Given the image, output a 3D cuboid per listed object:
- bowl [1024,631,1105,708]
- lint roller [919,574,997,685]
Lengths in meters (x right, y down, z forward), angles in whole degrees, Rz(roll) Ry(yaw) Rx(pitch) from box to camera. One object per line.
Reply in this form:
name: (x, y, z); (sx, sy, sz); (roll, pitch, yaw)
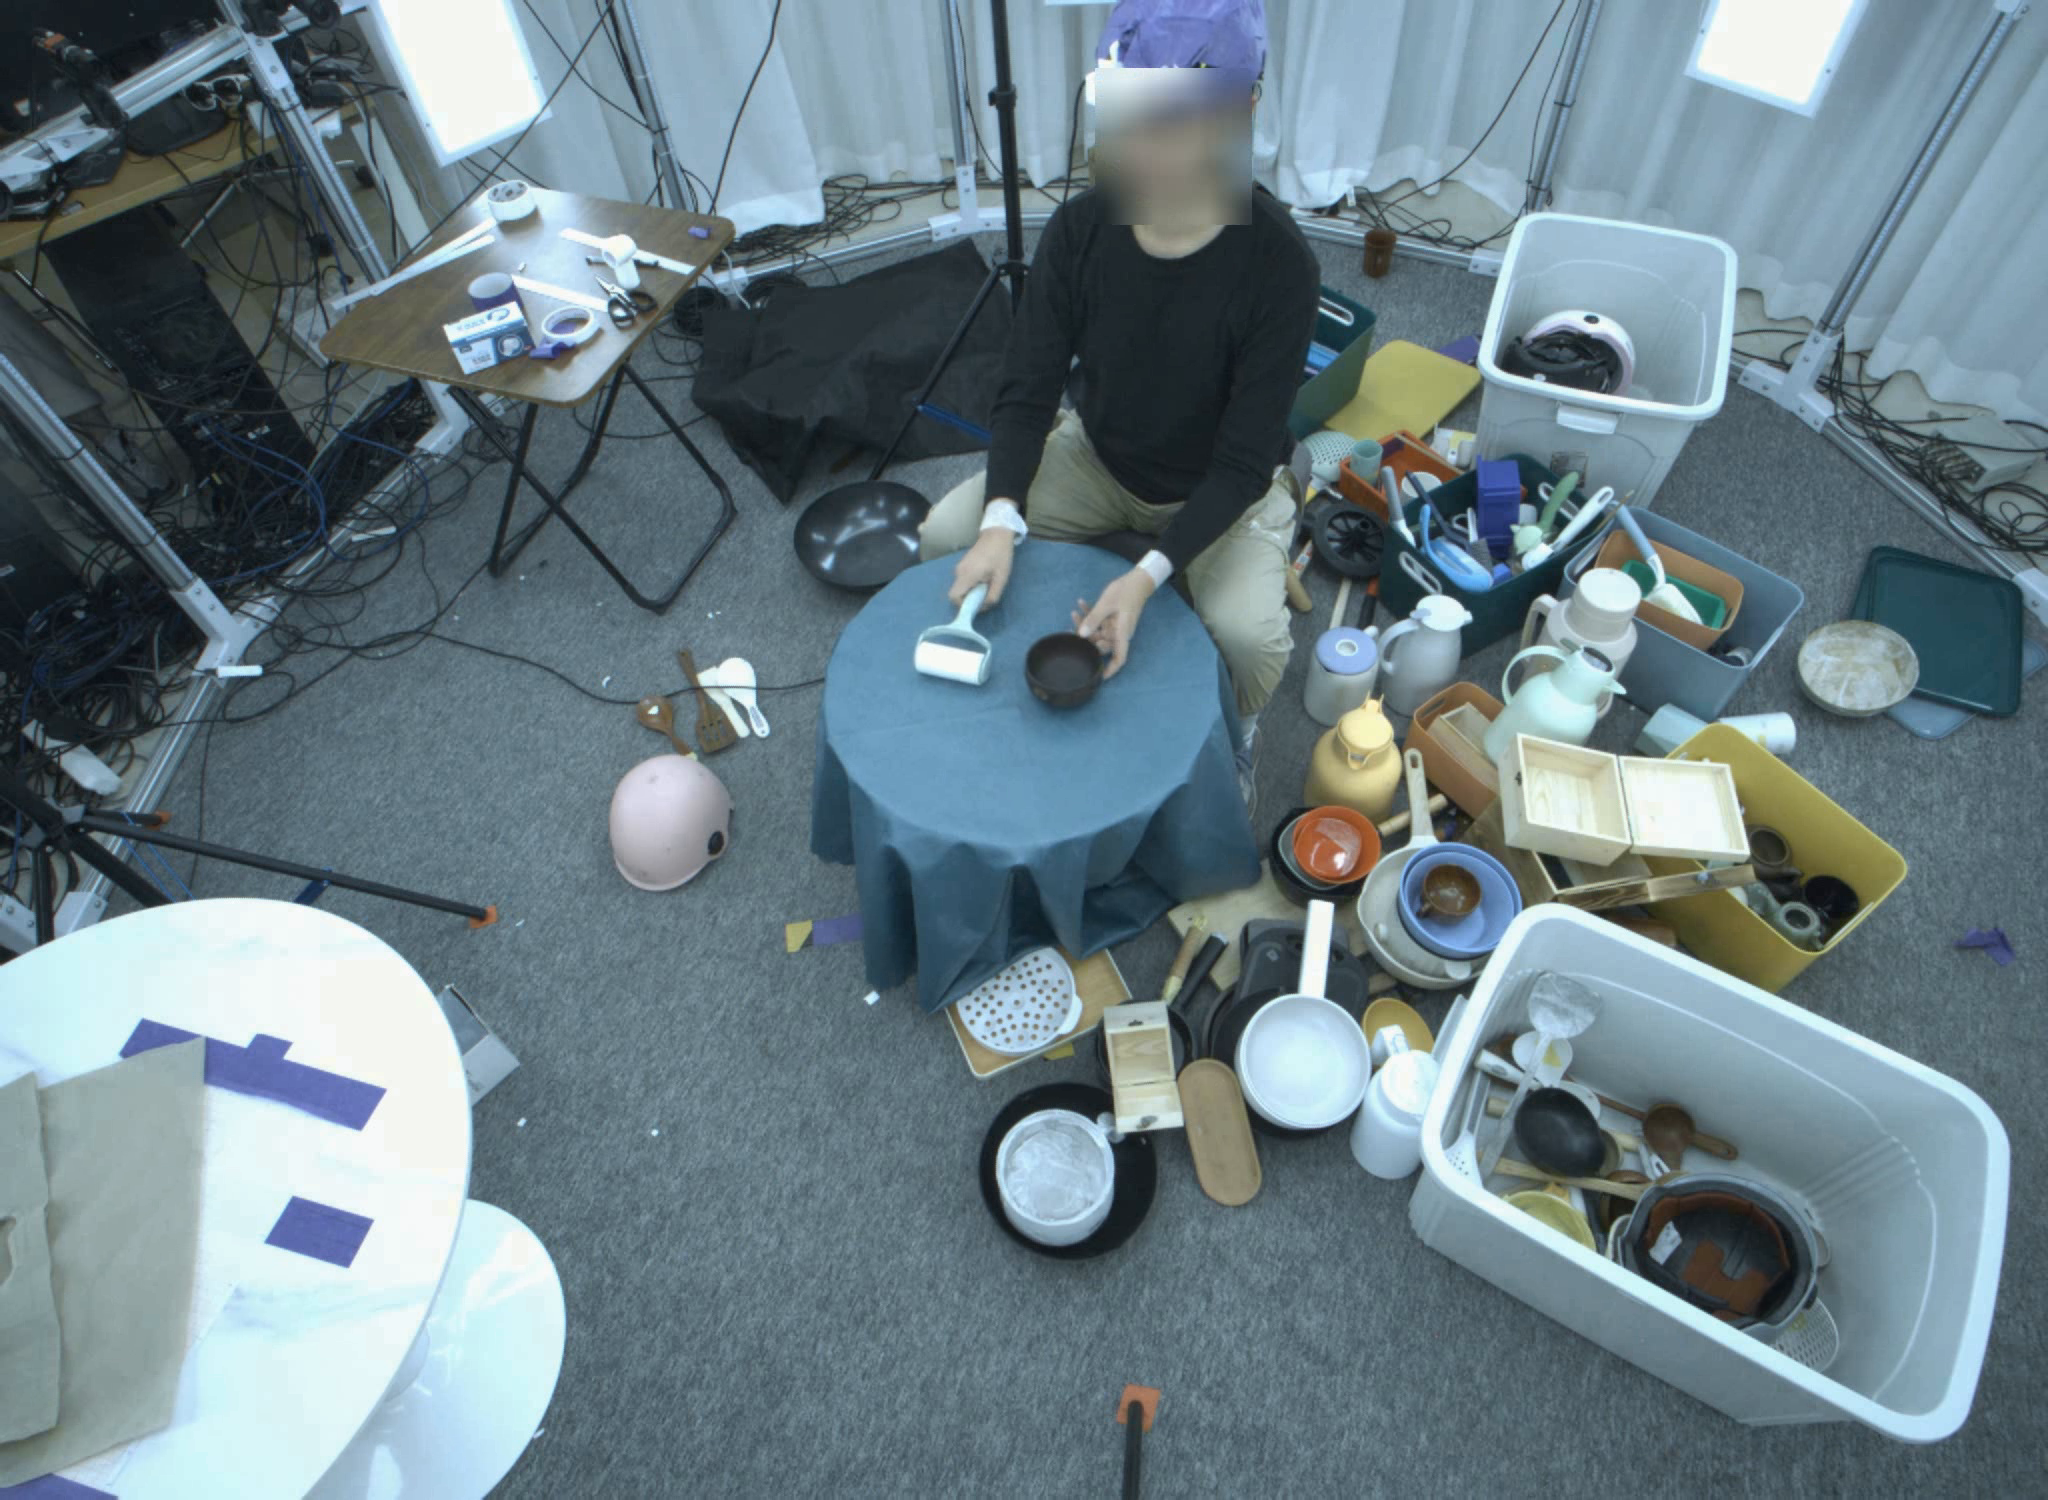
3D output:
bowl: (0.061, -0.111, 1.820); (0.118, 0.070, 0.117); (-1, 54, 3)
lint roller: (-0.082, -0.194, 1.879); (0.115, 0.049, 0.197); (12, 67, 11)
